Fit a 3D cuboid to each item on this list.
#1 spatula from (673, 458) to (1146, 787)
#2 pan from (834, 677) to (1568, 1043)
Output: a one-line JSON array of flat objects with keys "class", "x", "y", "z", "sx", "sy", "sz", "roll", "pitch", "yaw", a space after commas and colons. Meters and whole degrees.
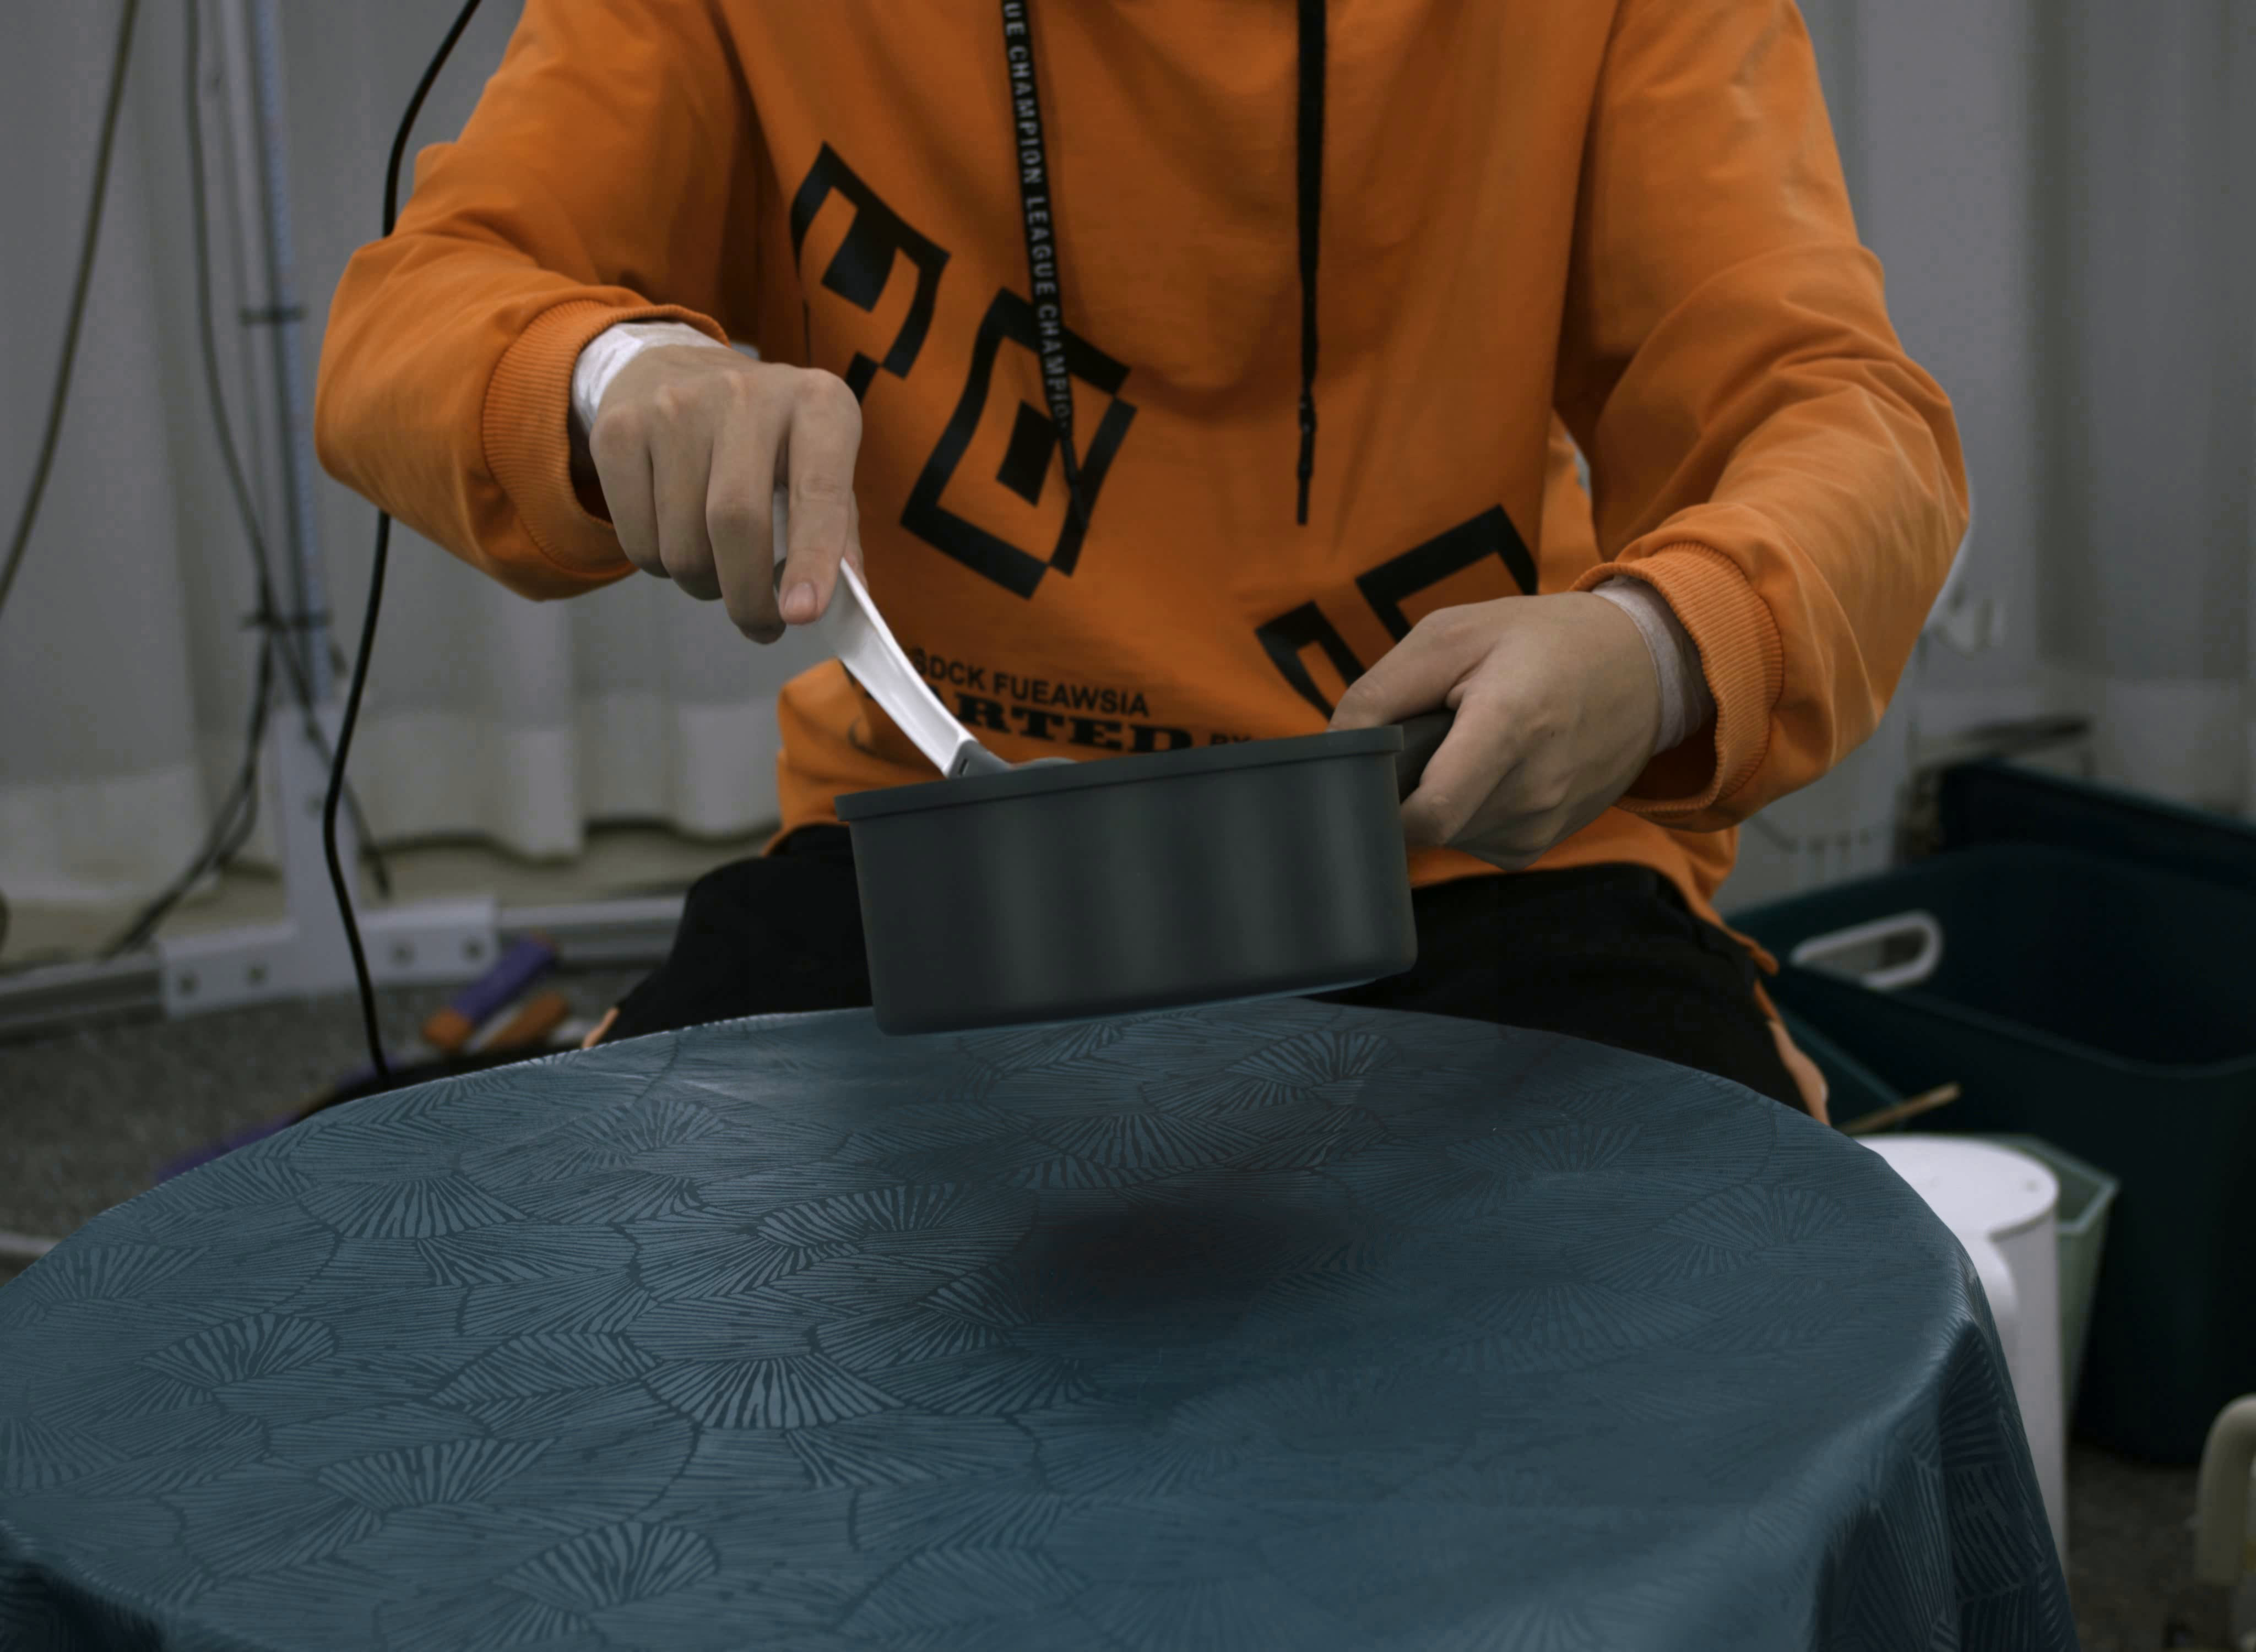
[{"class": "spatula", "x": -0.057, "y": -0.041, "z": 1.711, "sx": 0.032, "sy": 0.058, "sz": 0.291, "roll": 11, "pitch": 20, "yaw": -42}, {"class": "pan", "x": 0.045, "y": 0.009, "z": 1.693, "sx": 0.172, "sy": 0.087, "sz": 0.327, "roll": -6, "pitch": 2, "yaw": 34}]
